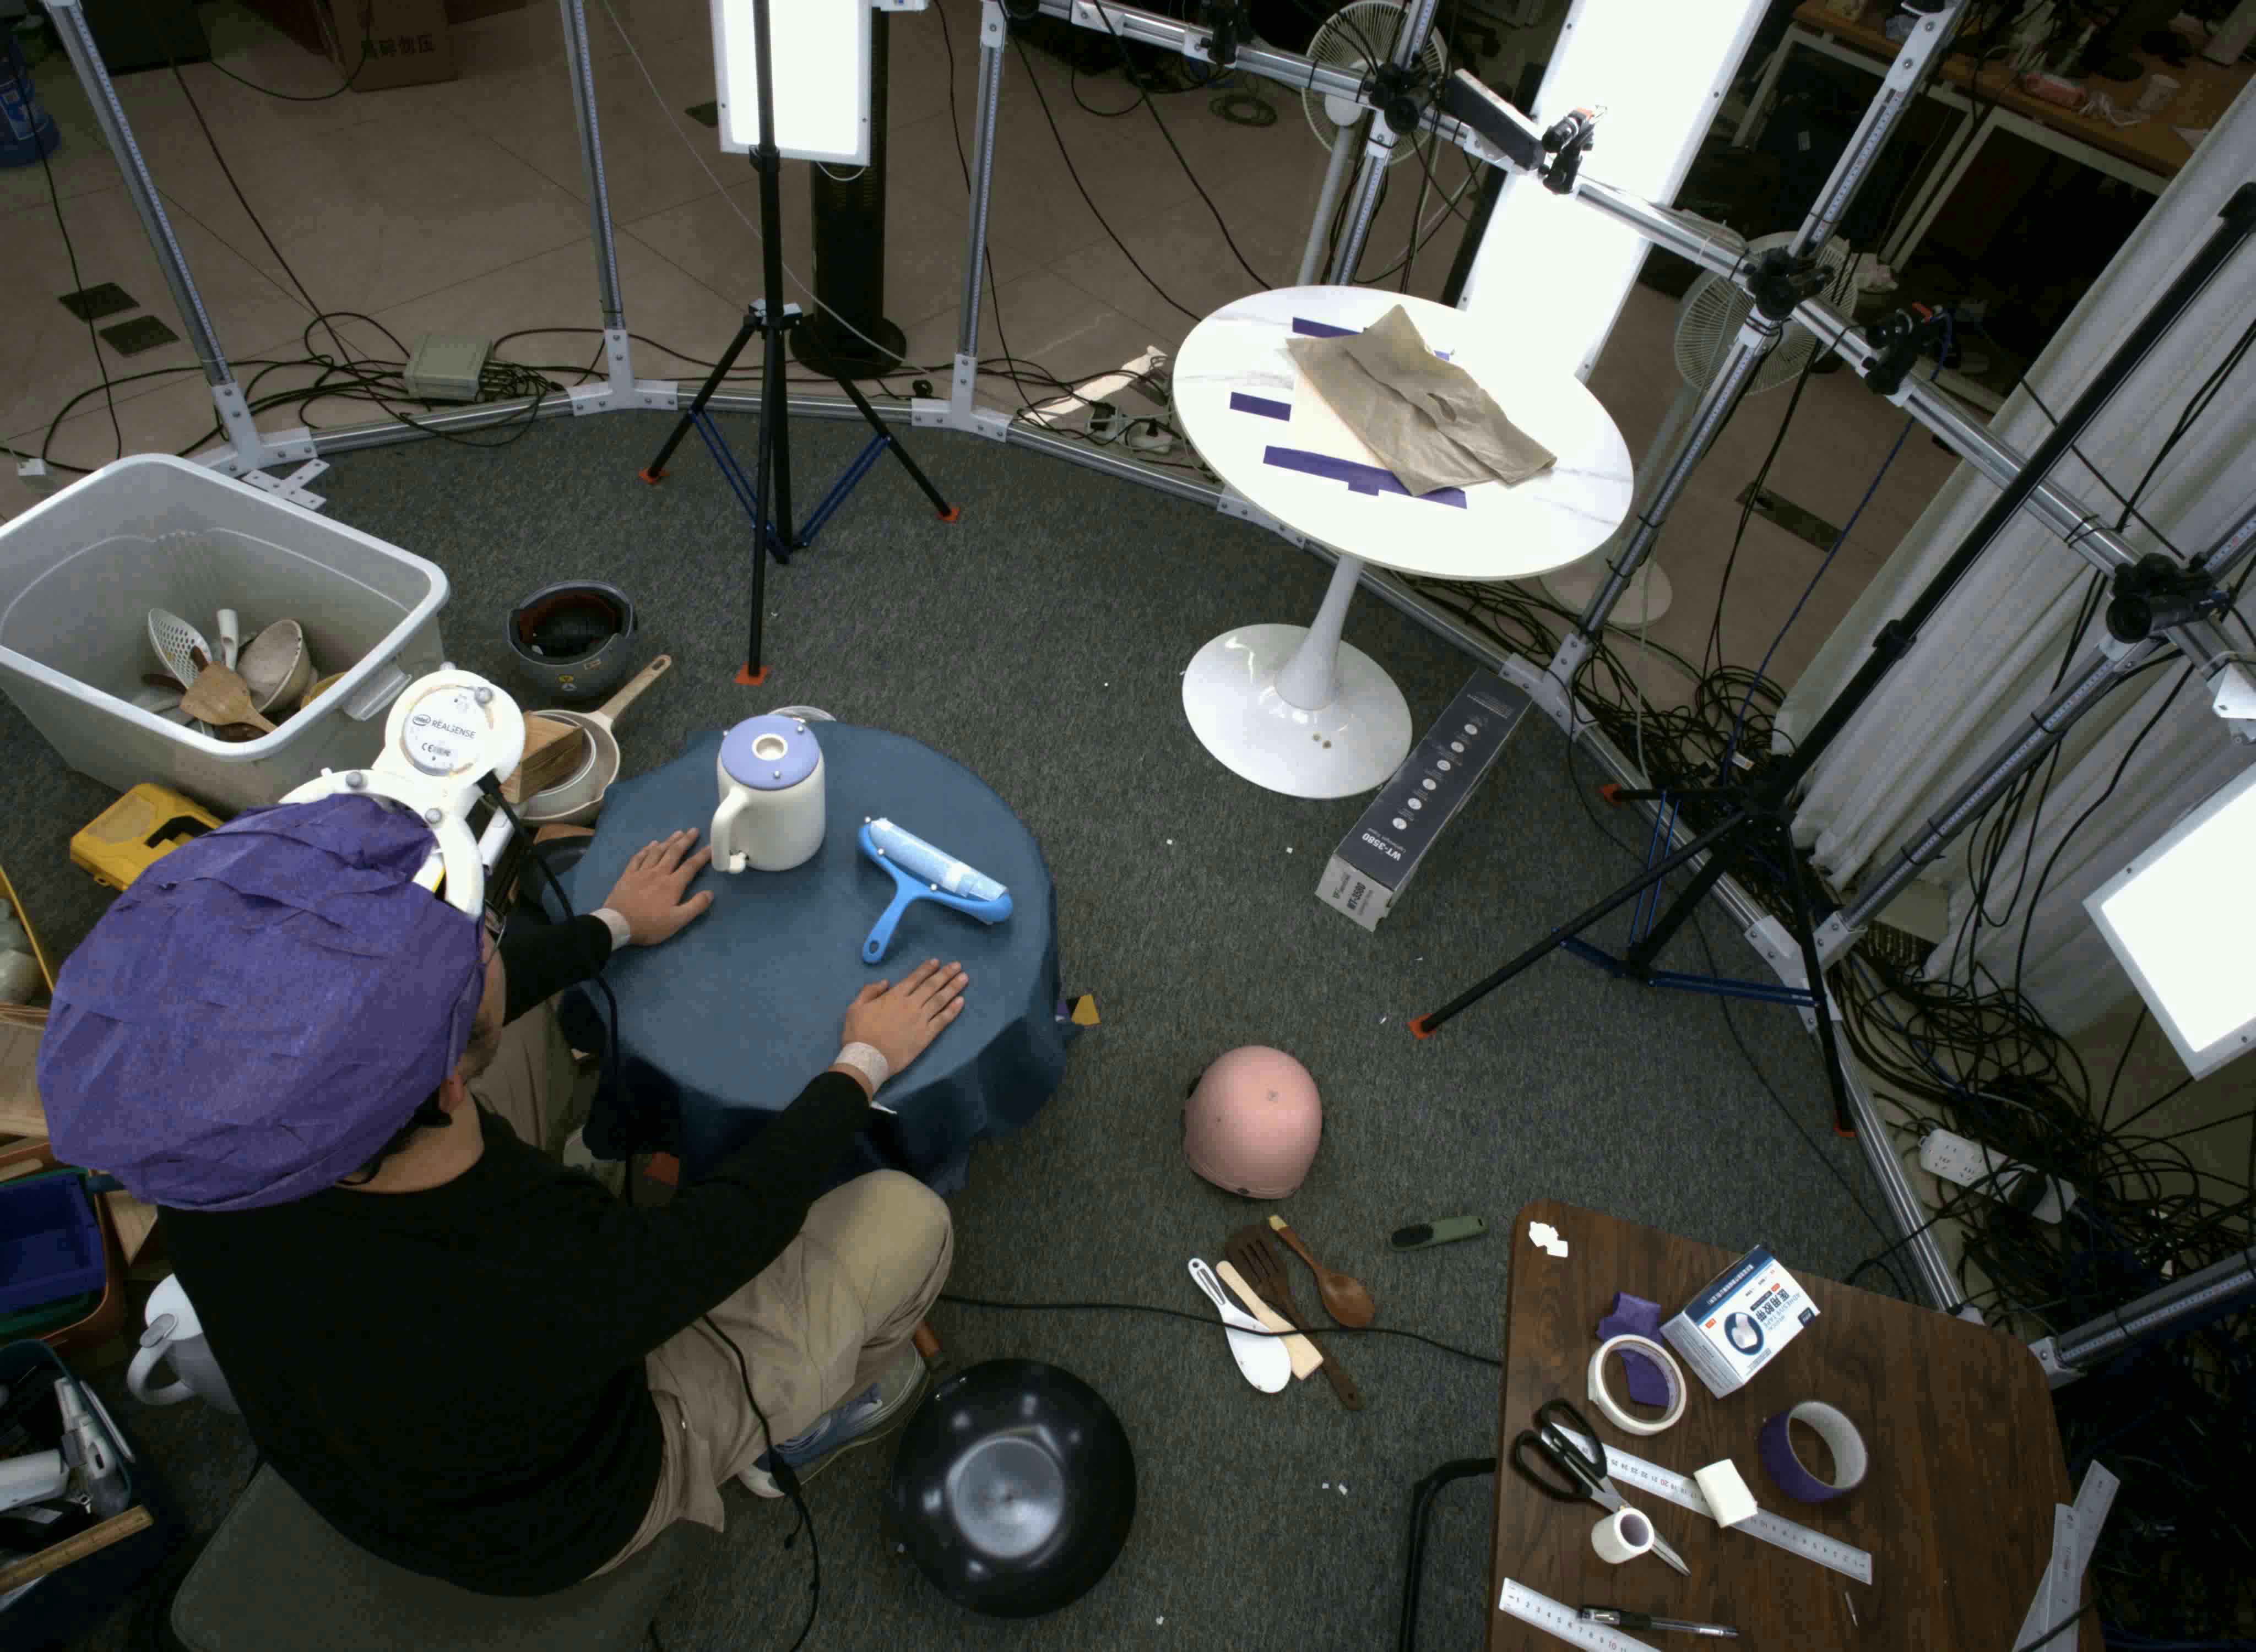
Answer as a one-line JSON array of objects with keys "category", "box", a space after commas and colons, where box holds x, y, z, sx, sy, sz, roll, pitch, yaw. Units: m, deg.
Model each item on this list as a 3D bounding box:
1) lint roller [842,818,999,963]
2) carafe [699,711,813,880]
[{"category": "lint roller", "box": [-0.292, 0.093, 1.646, 0.226, 0.069, 0.179, 28, 48, 4]}, {"category": "carafe", "box": [-0.476, -0.025, 1.613, 0.130, 0.186, 0.190, 23, 53, 7]}]
